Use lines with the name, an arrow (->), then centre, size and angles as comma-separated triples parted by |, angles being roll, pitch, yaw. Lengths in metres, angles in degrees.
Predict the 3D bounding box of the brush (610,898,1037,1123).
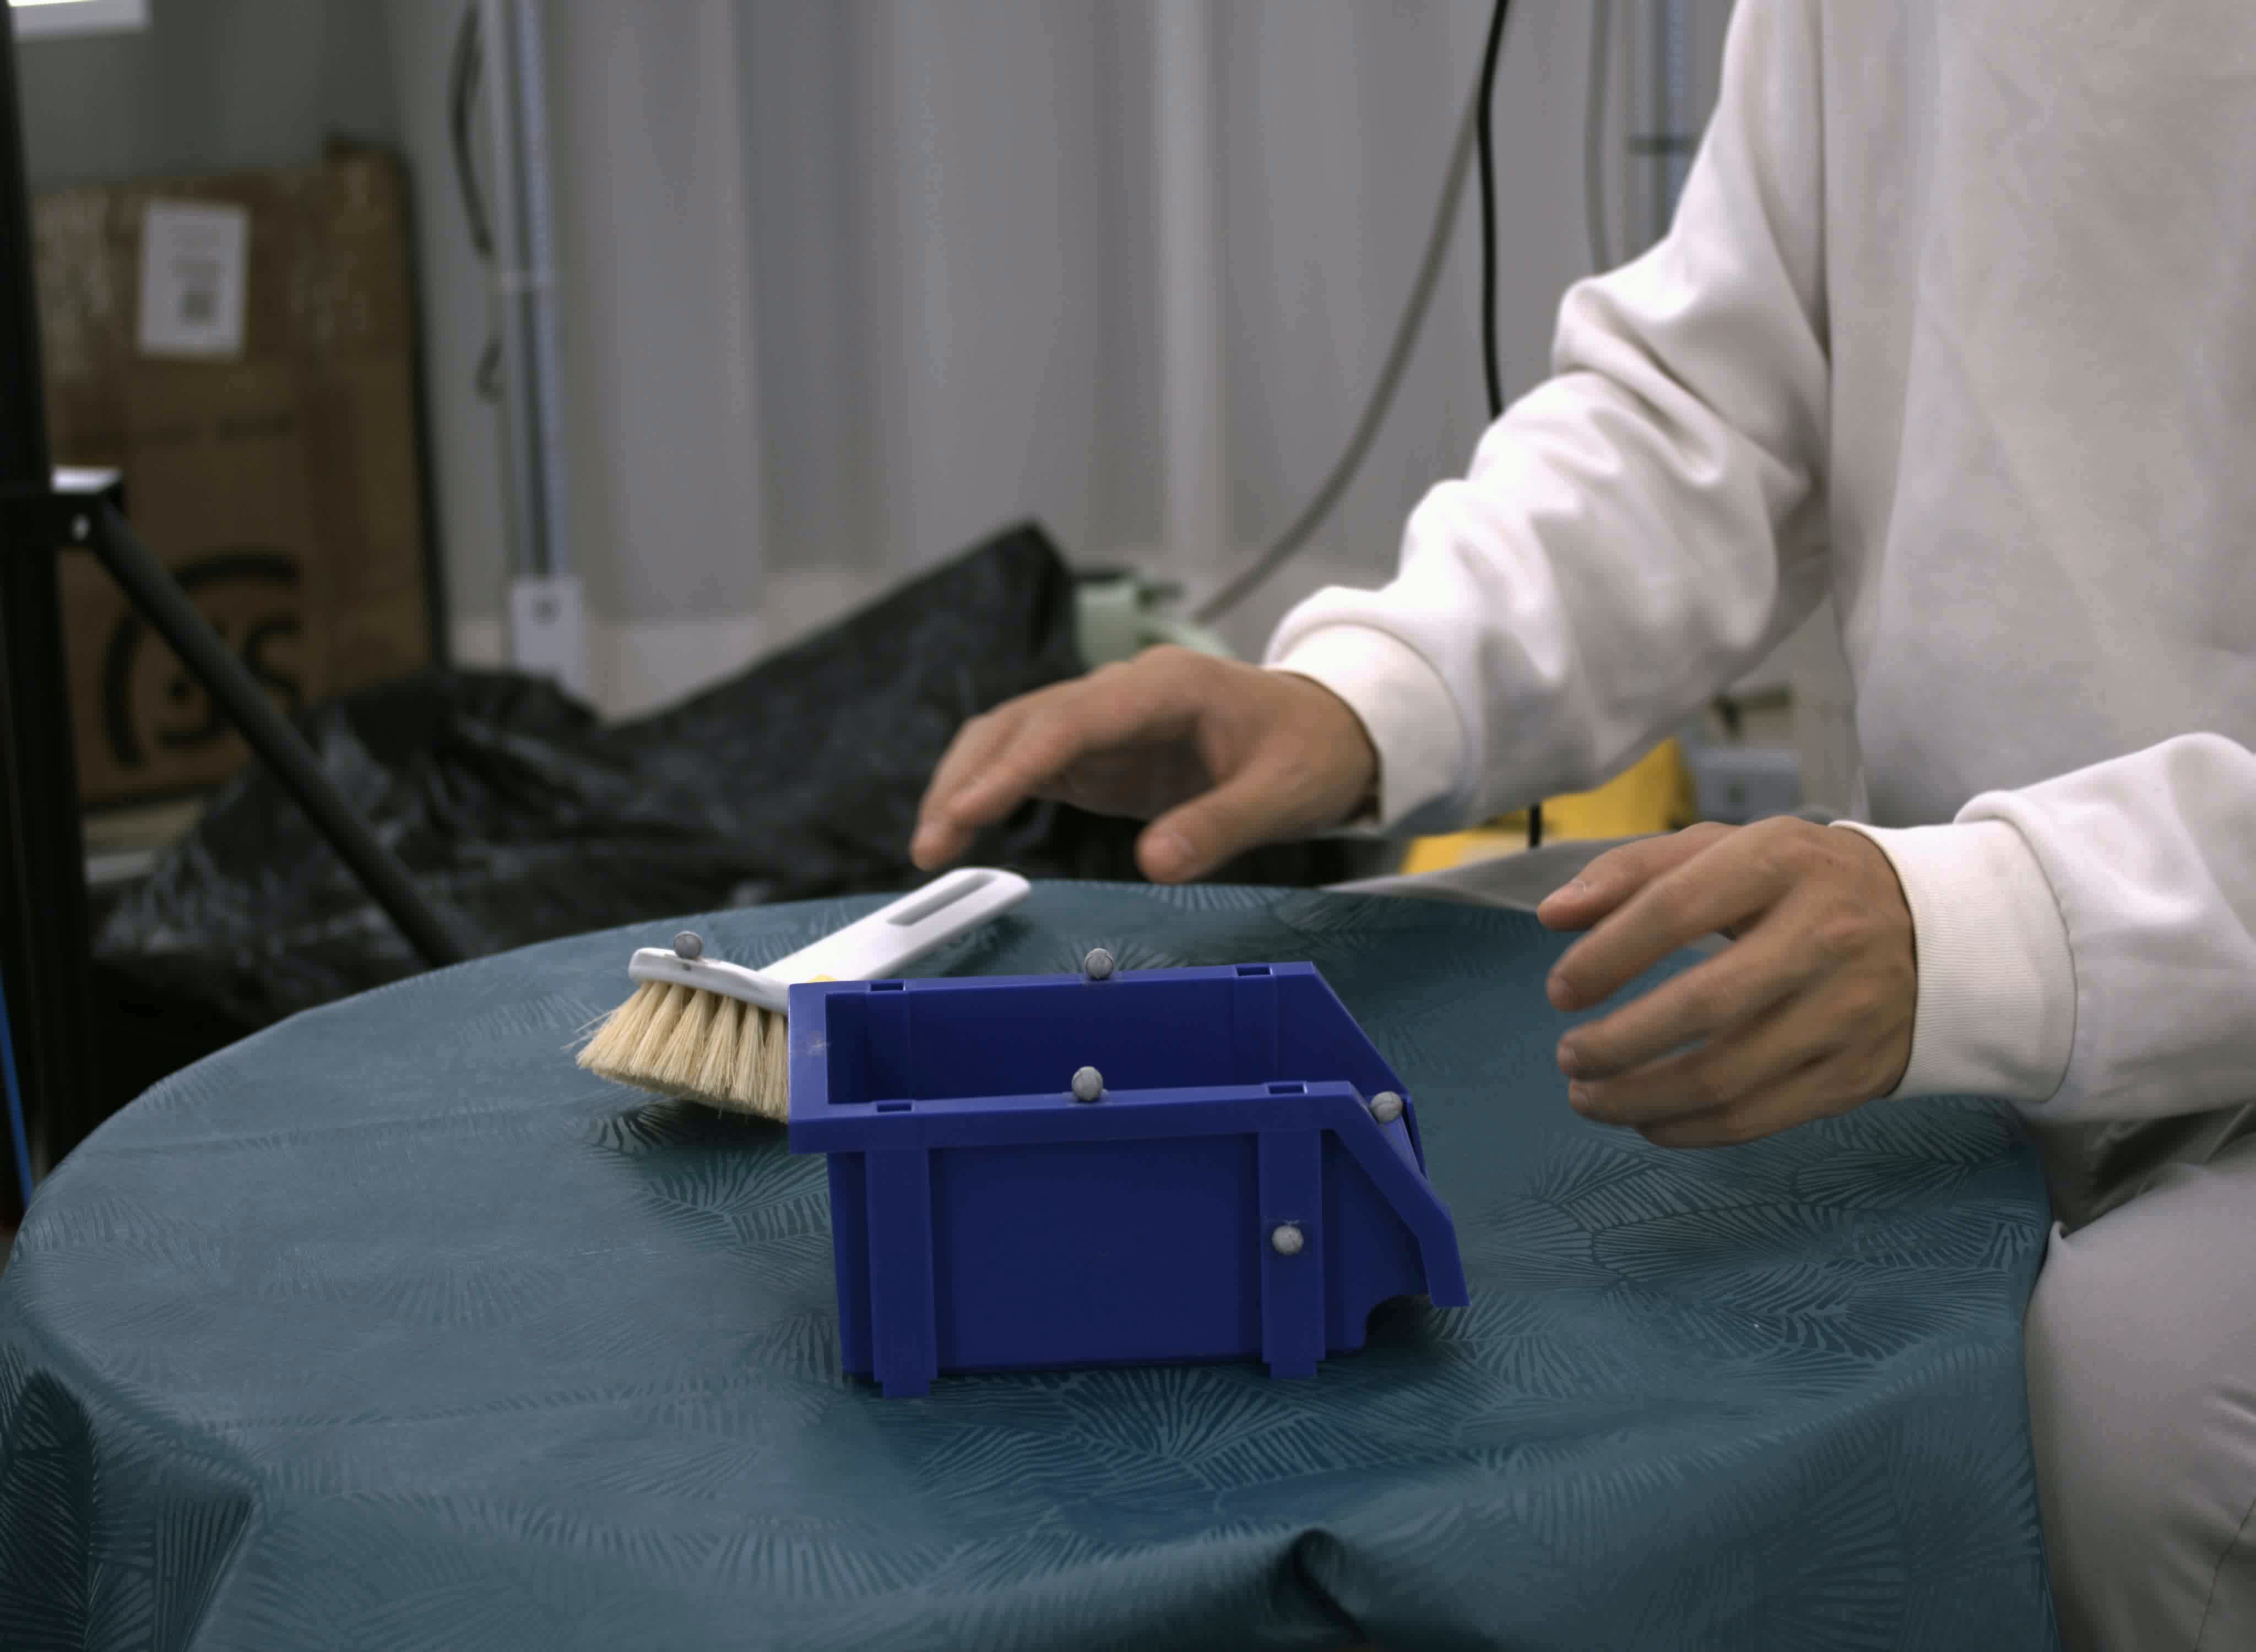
brush -> -0.088, 0.057, 1.722 | 0.069, 0.056, 0.262 | 19, 7, 17

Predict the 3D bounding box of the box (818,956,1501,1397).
box -> 0.007, 0.094, 1.460 | 0.178, 0.082, 0.125 | -4, 15, 0
